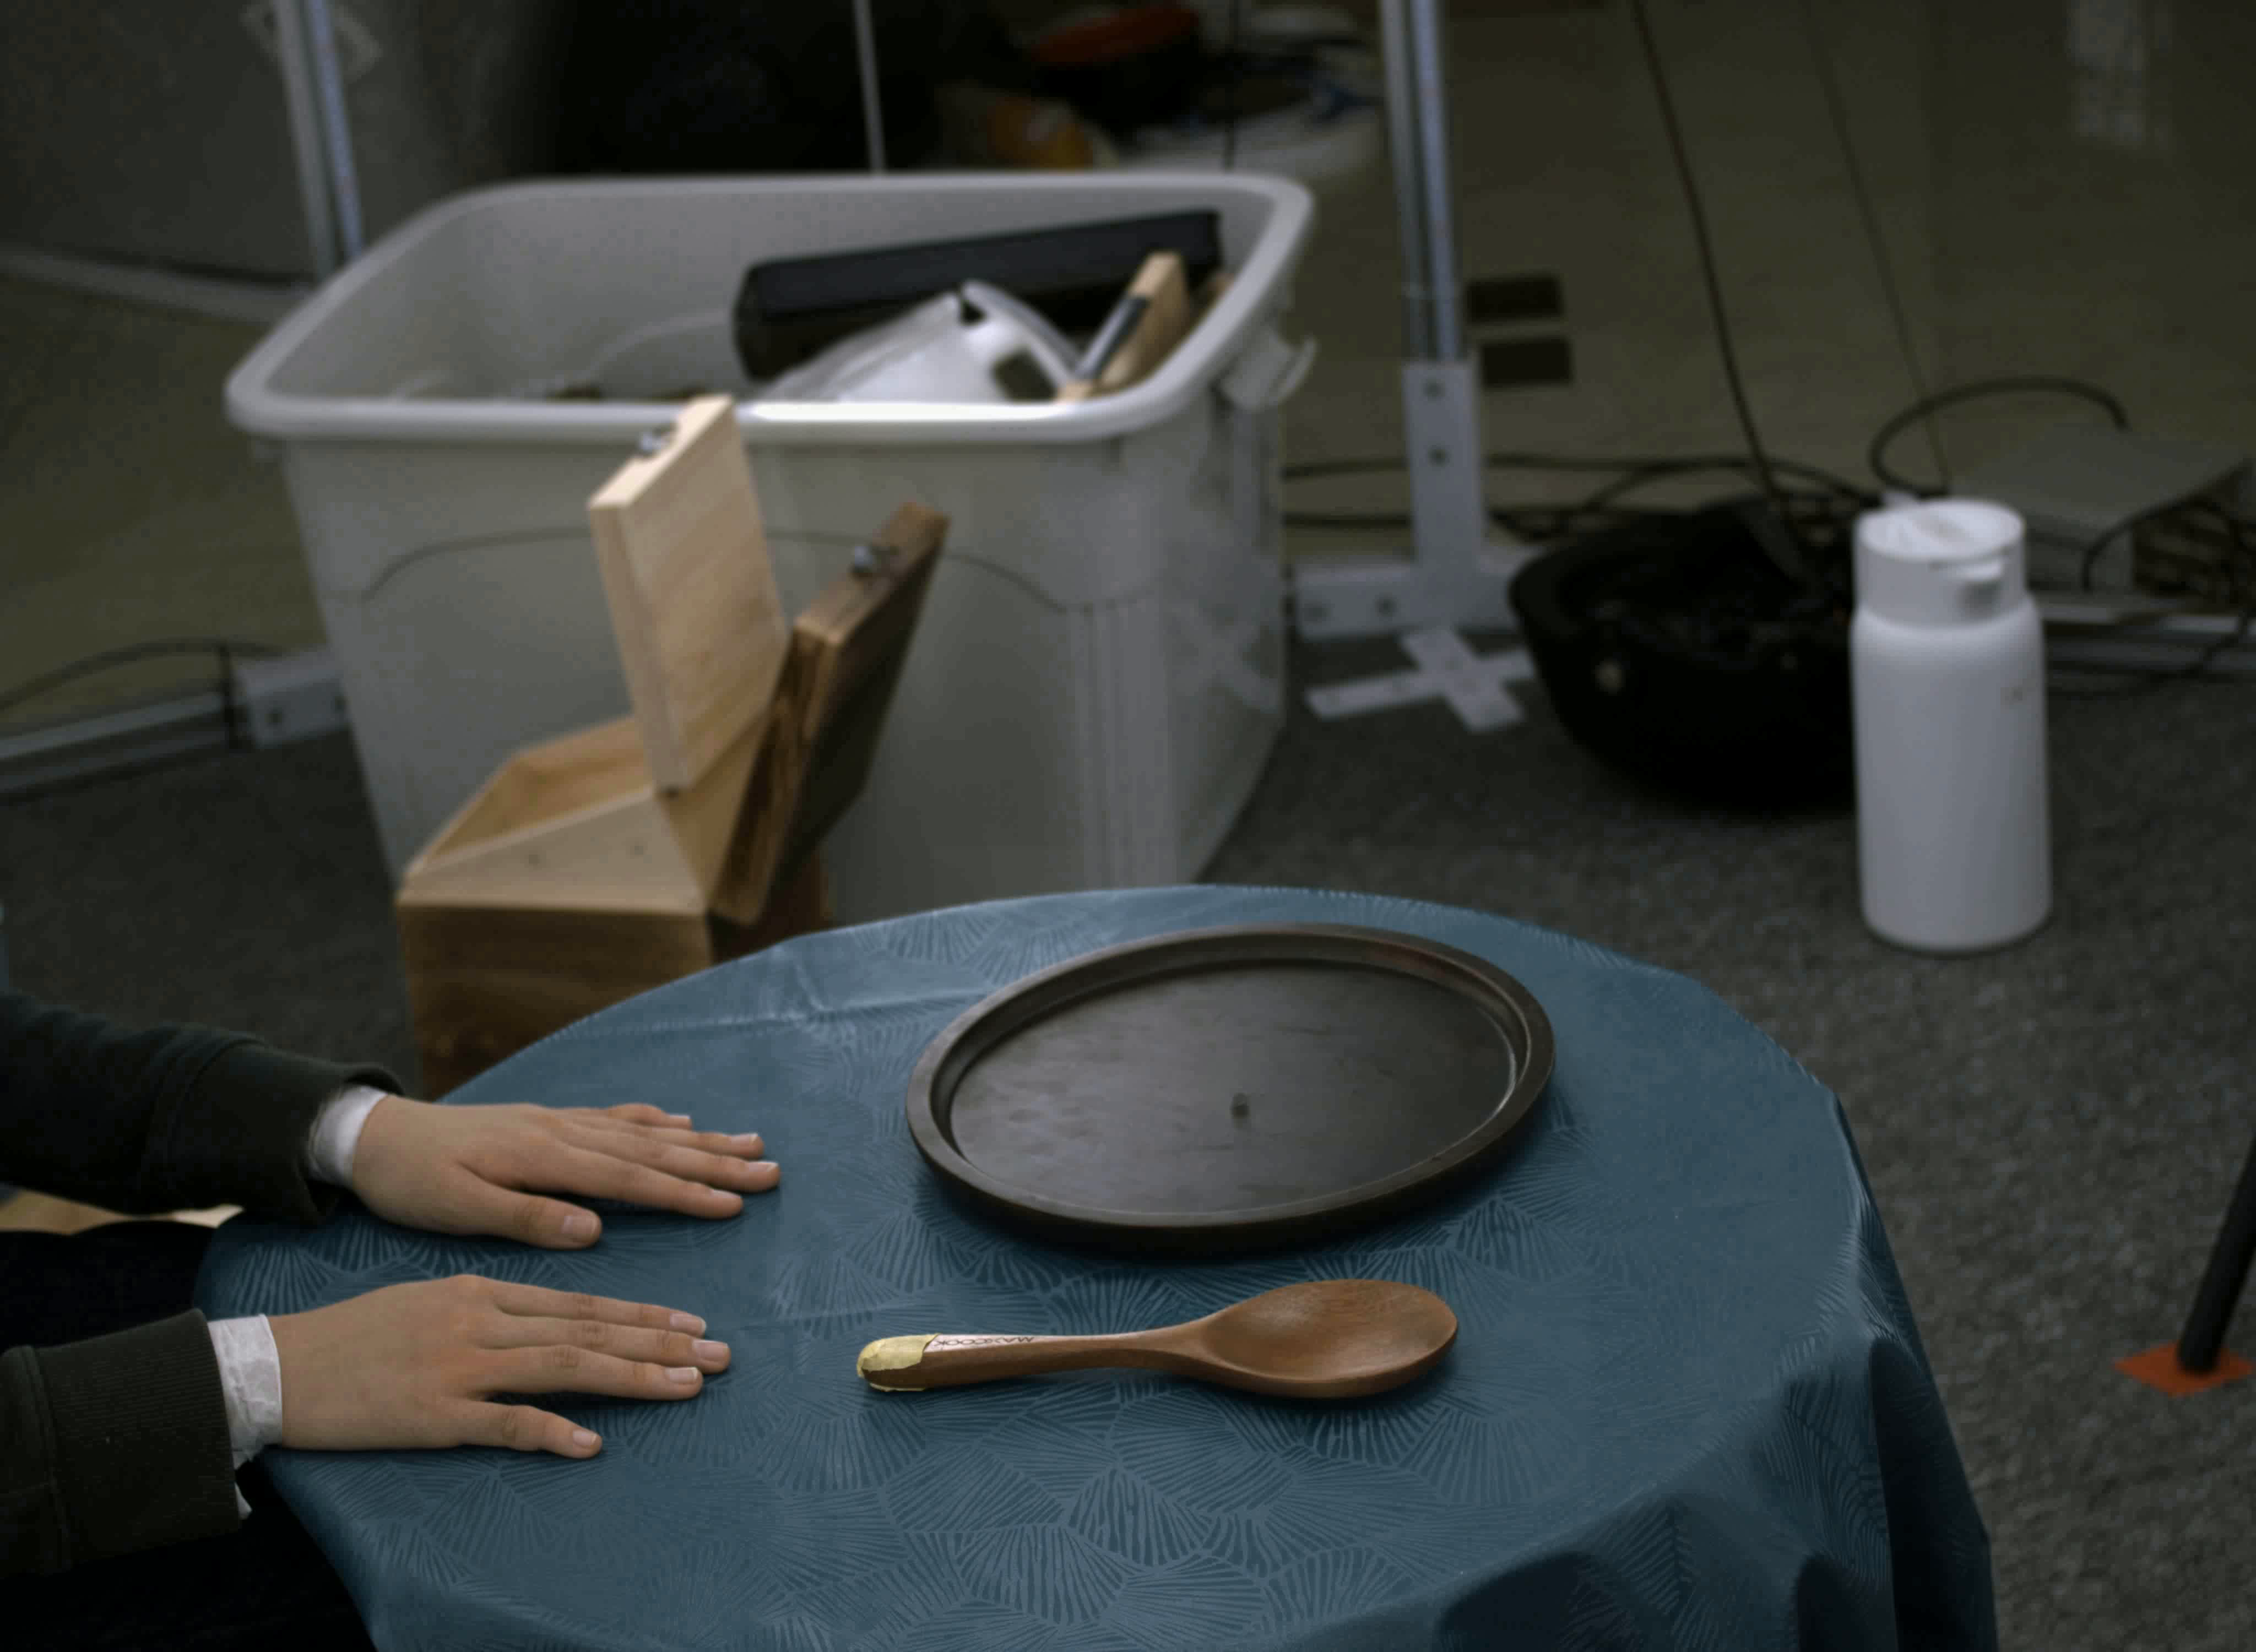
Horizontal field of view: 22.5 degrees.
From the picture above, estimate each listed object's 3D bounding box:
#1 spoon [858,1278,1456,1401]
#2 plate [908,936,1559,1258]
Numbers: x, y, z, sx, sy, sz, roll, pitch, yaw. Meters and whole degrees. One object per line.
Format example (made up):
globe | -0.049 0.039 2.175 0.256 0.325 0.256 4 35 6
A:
spoon | 0.010 0.188 2.026 0.215 0.017 0.074 -3 25 8
plate | 0.041 0.103 2.195 0.254 0.029 0.251 -4 24 2
